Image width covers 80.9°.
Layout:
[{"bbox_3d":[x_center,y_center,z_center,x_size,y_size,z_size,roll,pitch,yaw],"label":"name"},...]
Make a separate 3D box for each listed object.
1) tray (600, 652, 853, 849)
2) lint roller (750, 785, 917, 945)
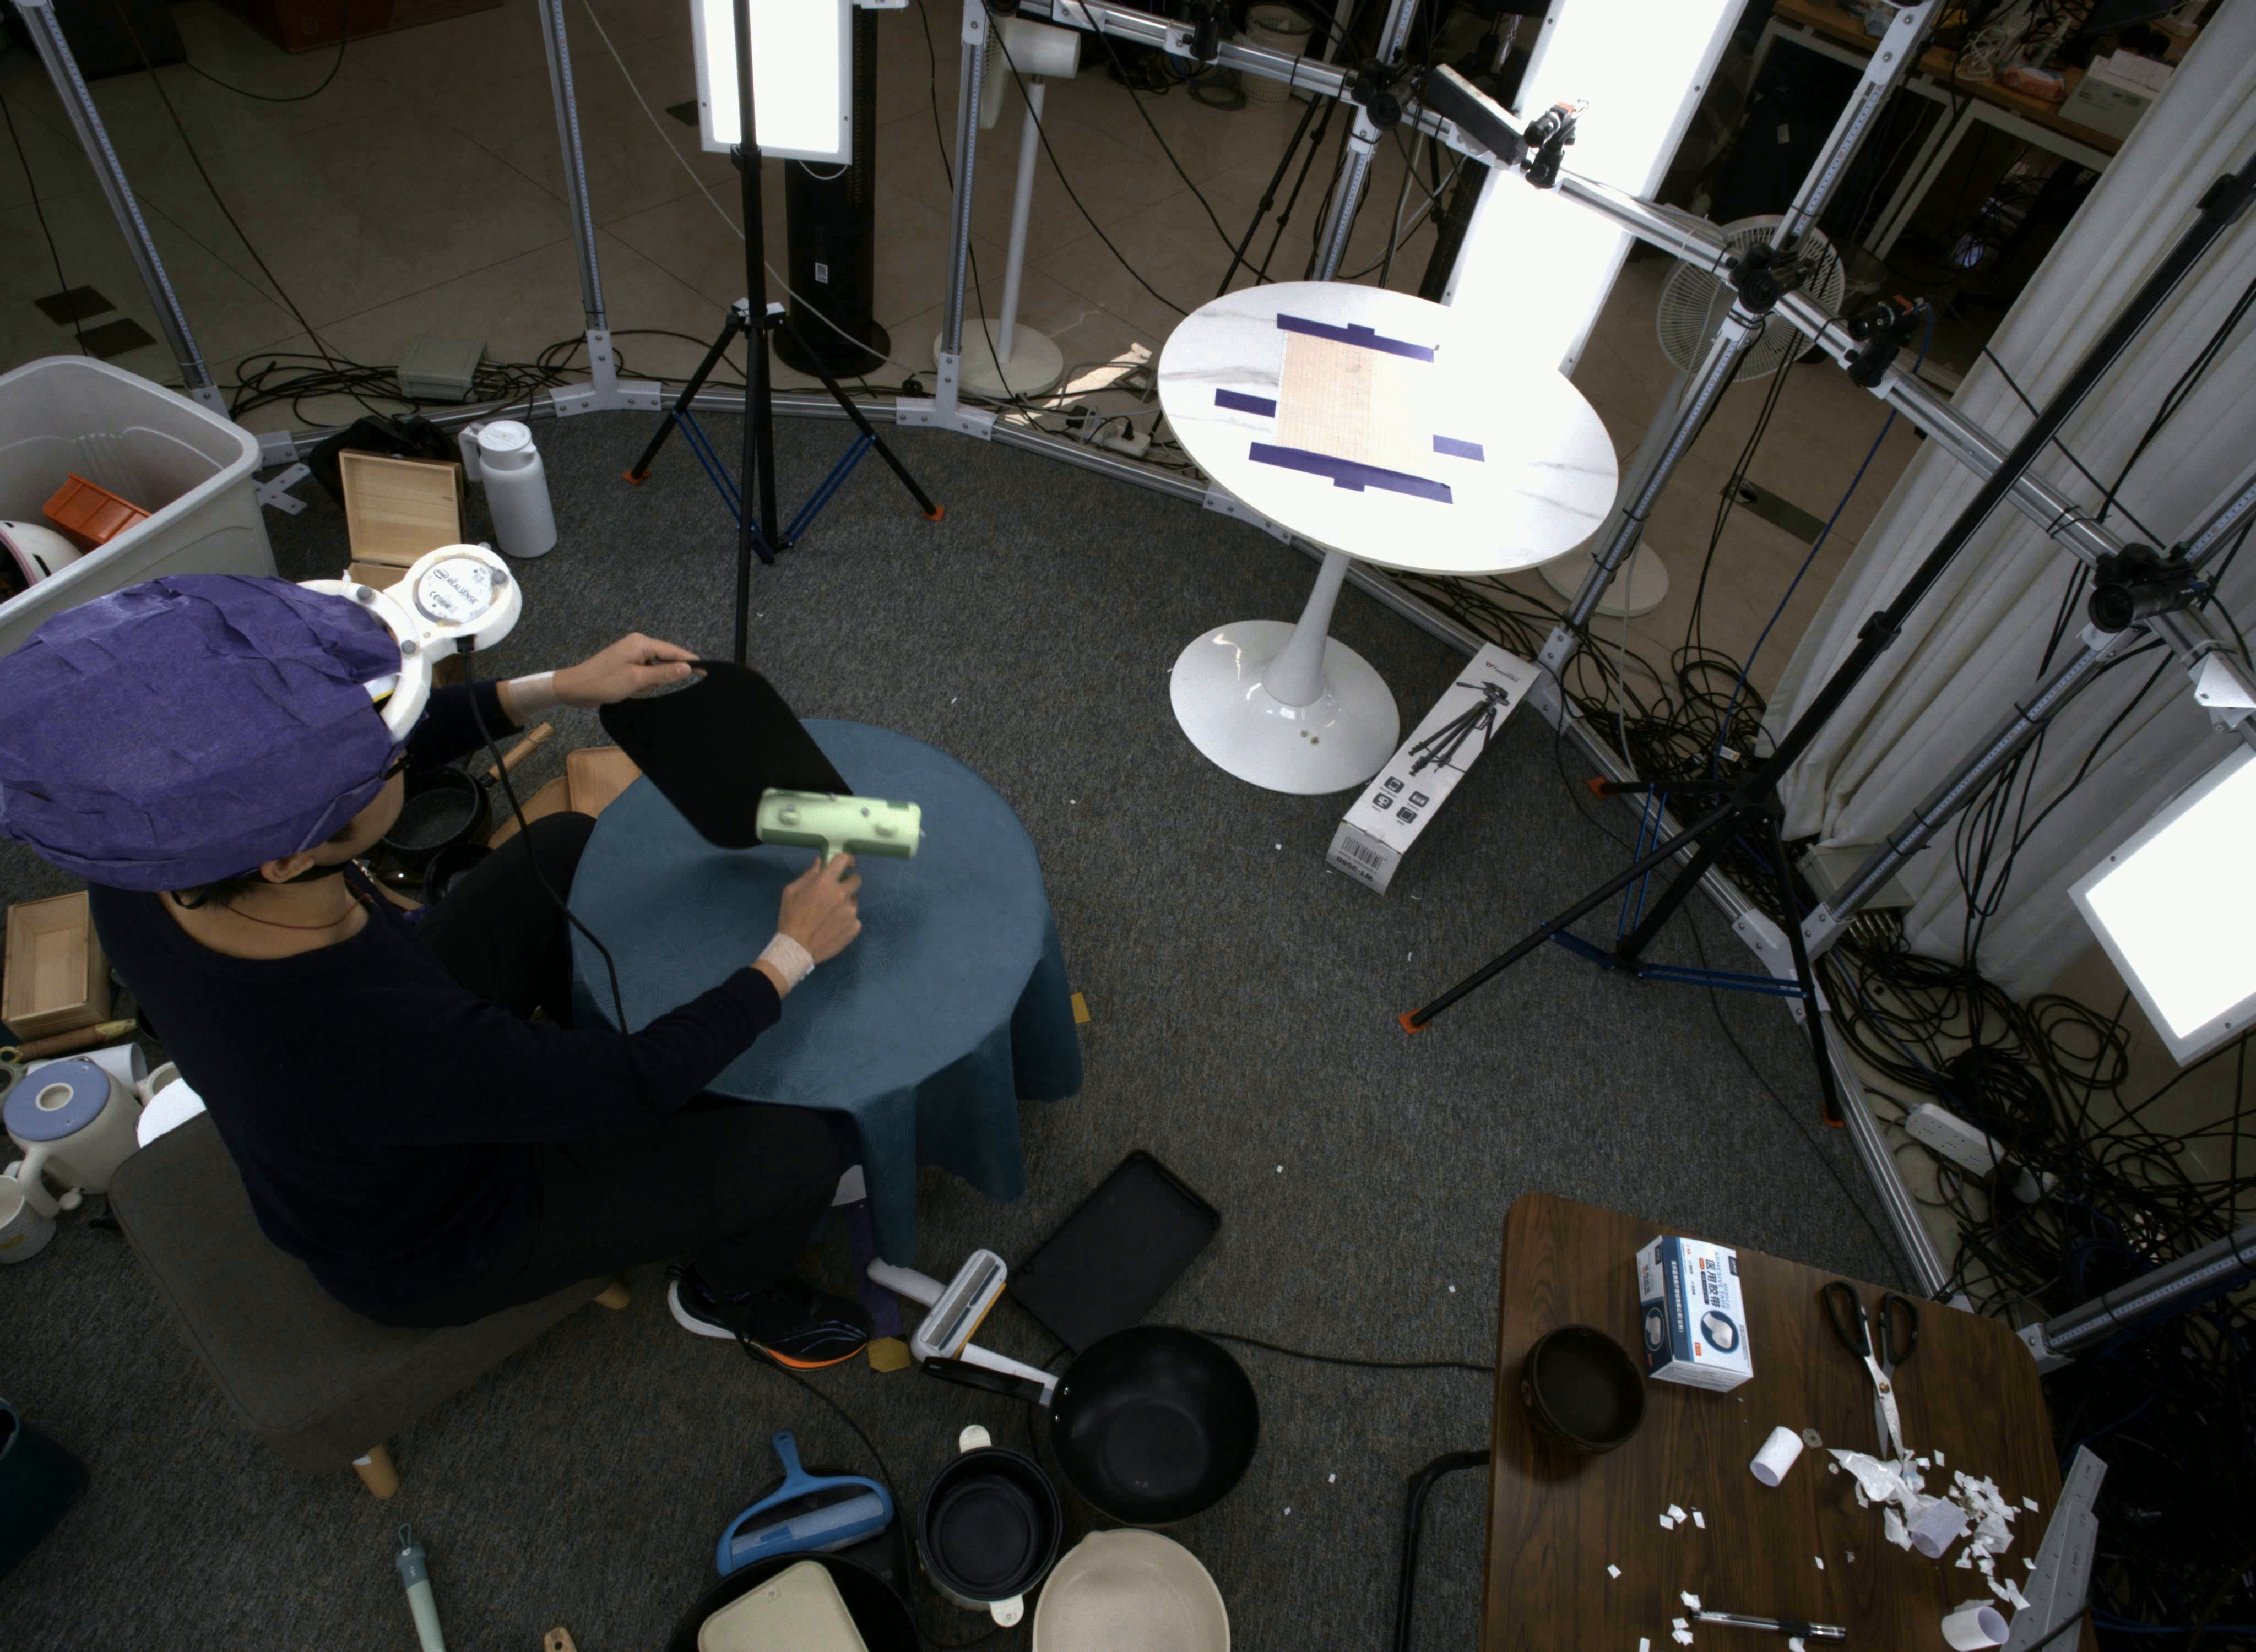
[{"bbox_3d":[-0.475,-0.086,1.524,0.208,0.338,0.009,-16,52,9],"label":"tray"},{"bbox_3d":[-0.357,0.042,1.552,0.198,0.083,0.182,5,68,-9],"label":"lint roller"}]
